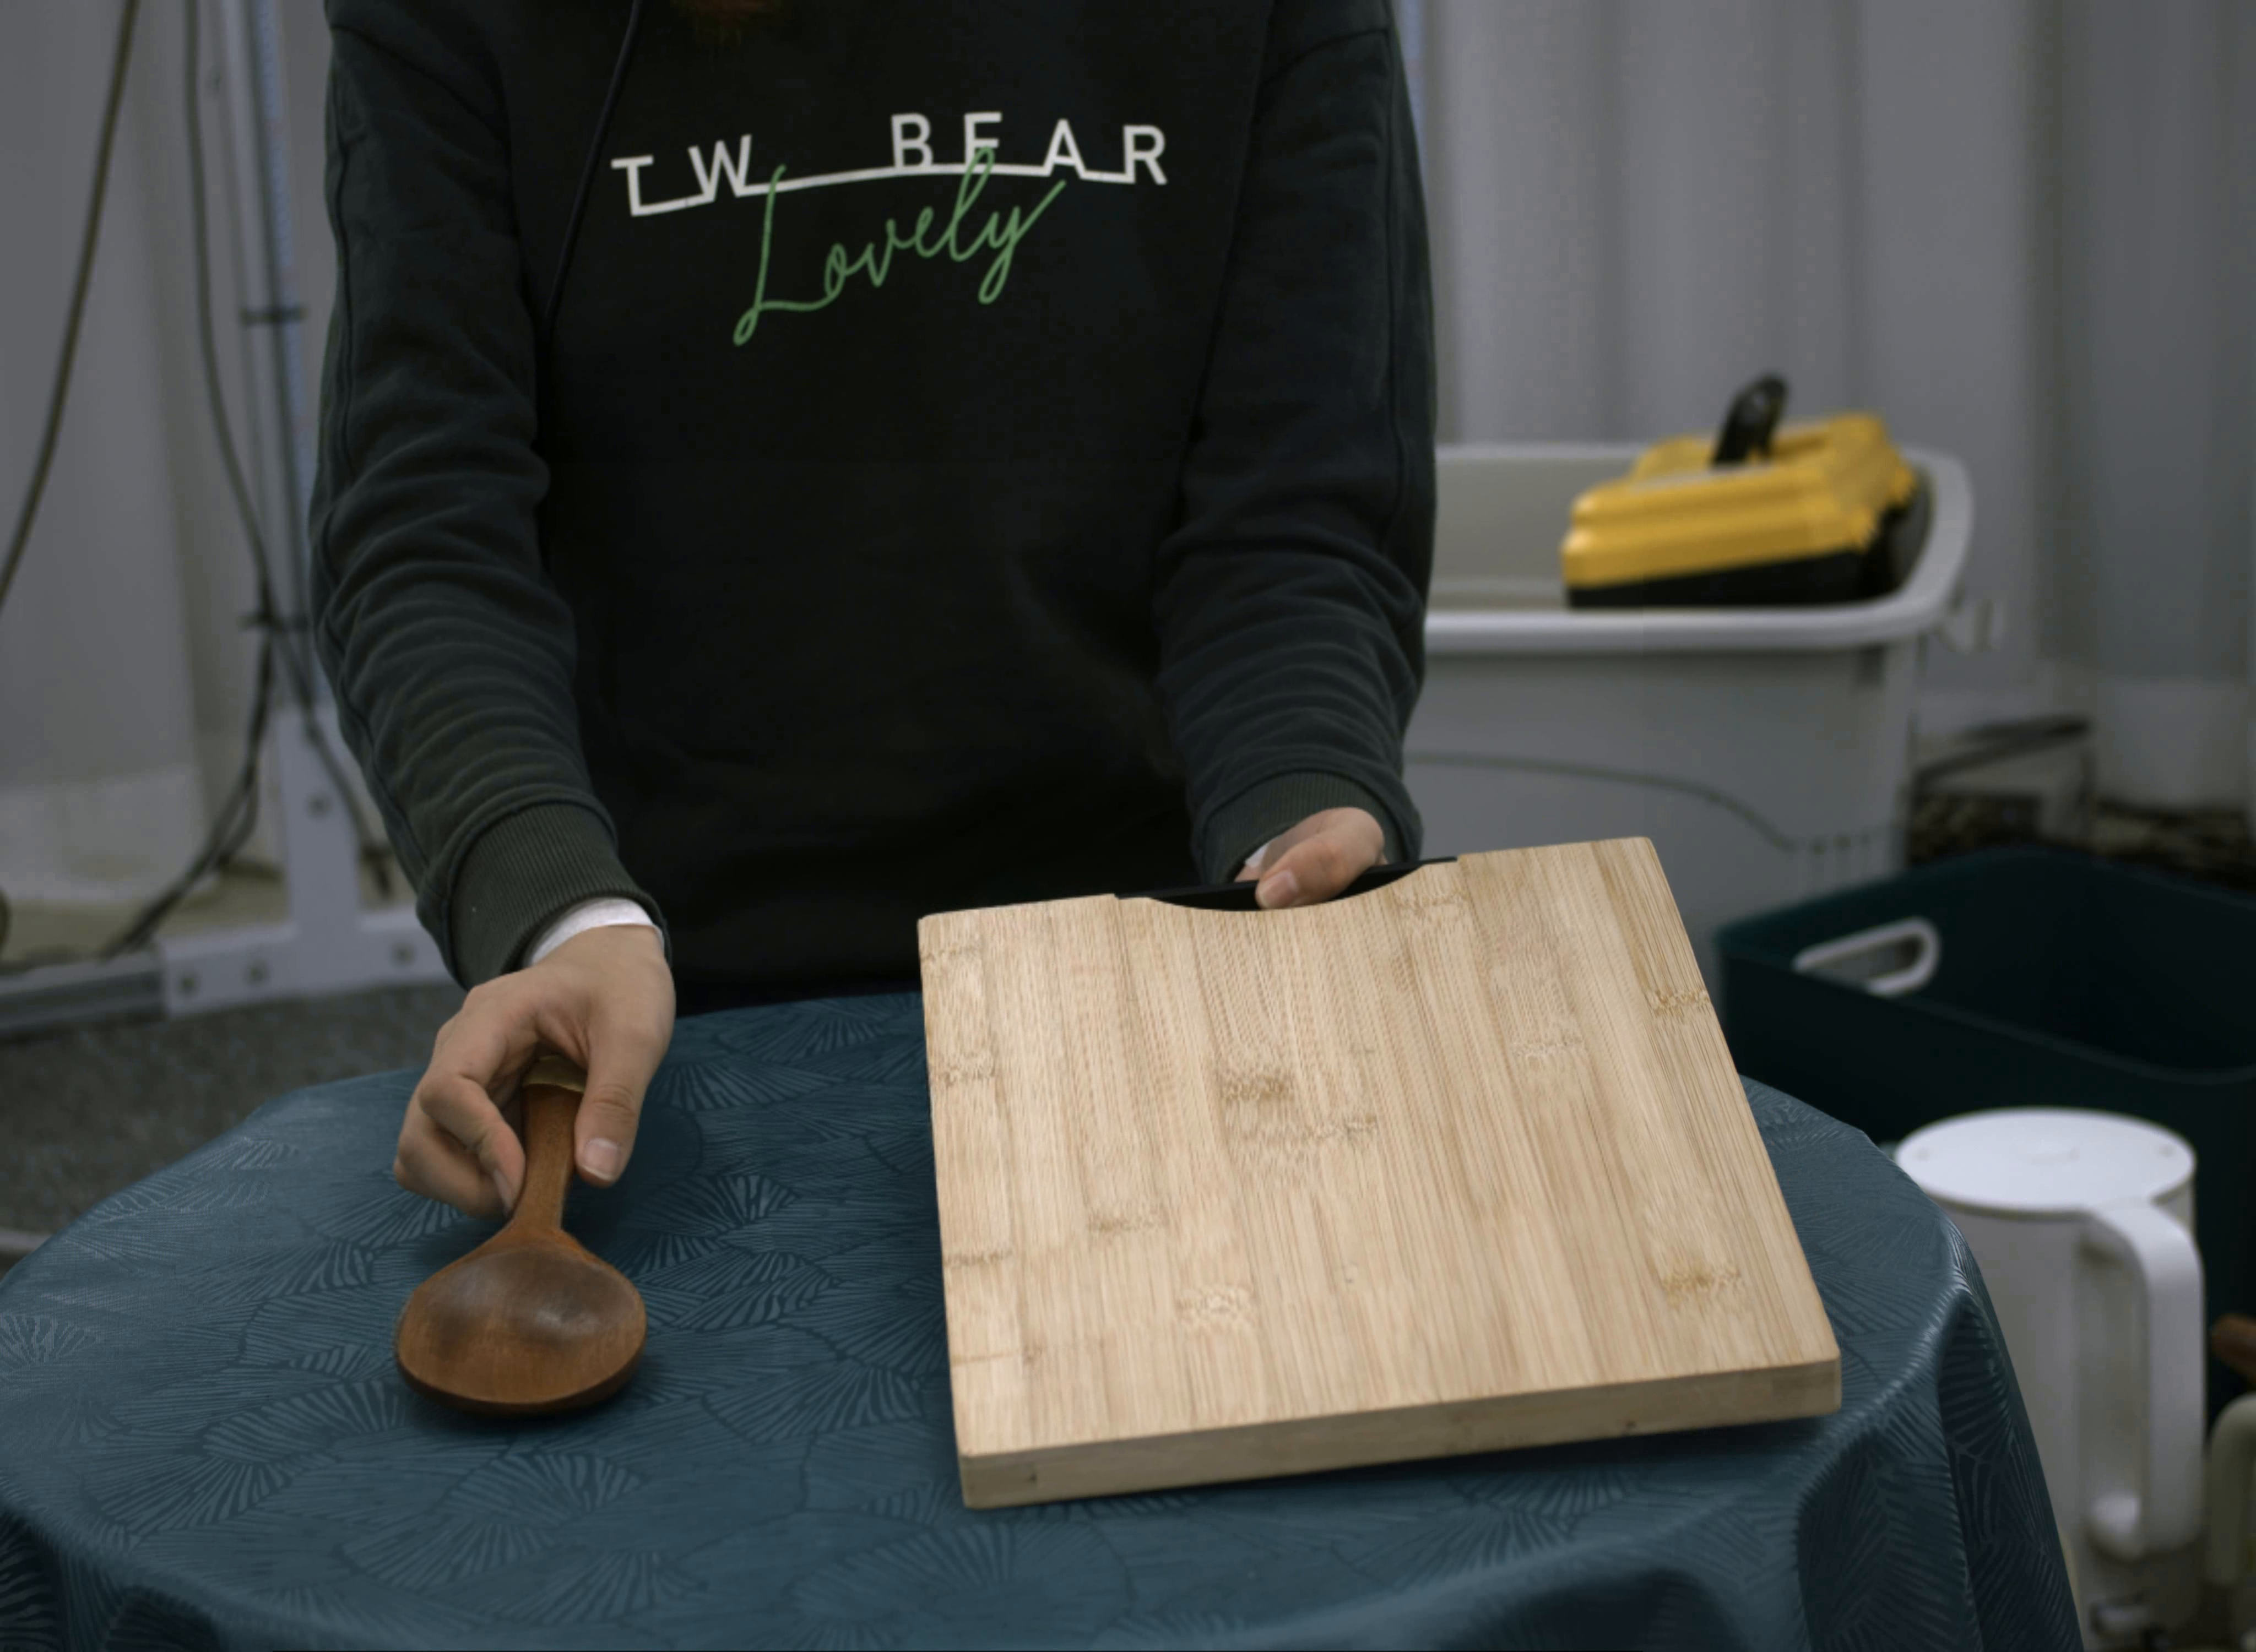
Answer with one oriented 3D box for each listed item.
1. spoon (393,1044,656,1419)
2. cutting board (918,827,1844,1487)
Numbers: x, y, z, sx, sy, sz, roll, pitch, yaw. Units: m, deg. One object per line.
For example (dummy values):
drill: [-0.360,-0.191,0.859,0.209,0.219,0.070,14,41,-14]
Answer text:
spoon: [-0.175,0.122,1.632,0.075,0.017,0.218,-1,26,-1]
cutting board: [0.063,0.092,1.624,0.250,0.023,0.352,-6,24,-2]
